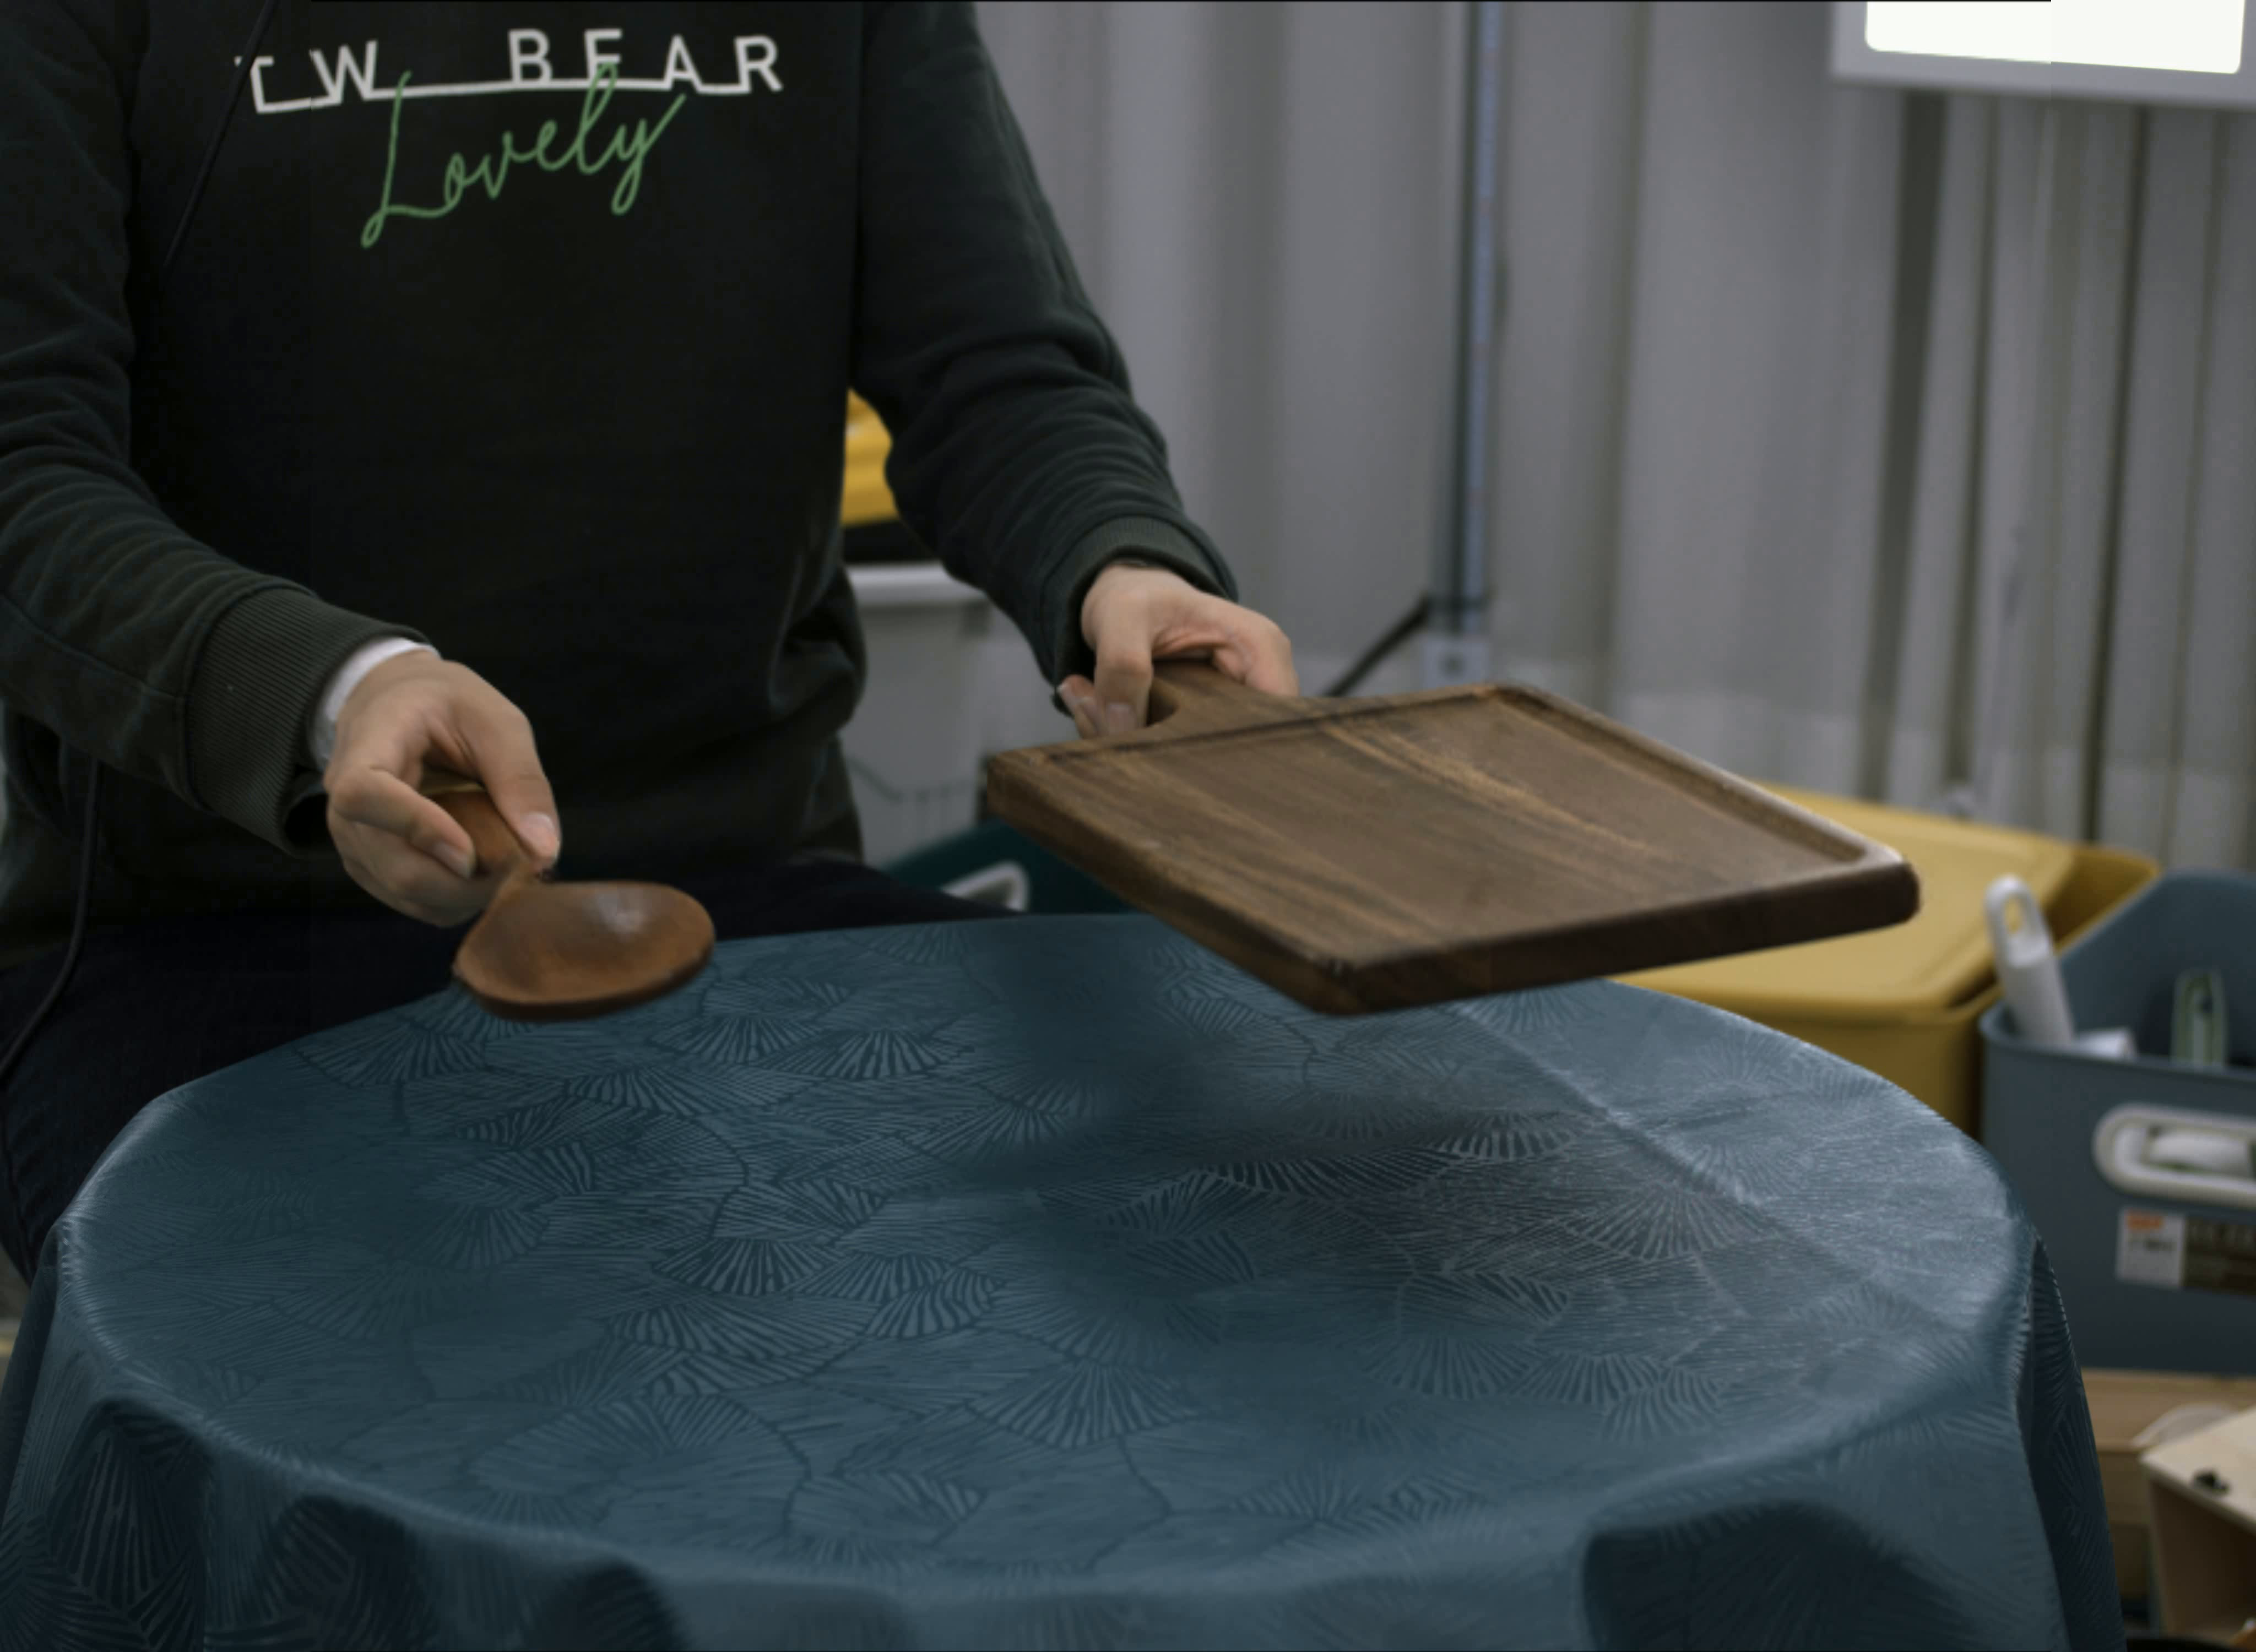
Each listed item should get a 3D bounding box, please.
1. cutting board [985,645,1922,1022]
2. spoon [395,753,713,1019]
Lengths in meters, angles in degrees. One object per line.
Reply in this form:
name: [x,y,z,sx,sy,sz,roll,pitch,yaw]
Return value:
cutting board: [0.073,-0.010,1.647,0.201,0.023,0.348,-9,18,-23]
spoon: [-0.180,0.017,1.568,0.075,0.017,0.213,-20,25,-16]
